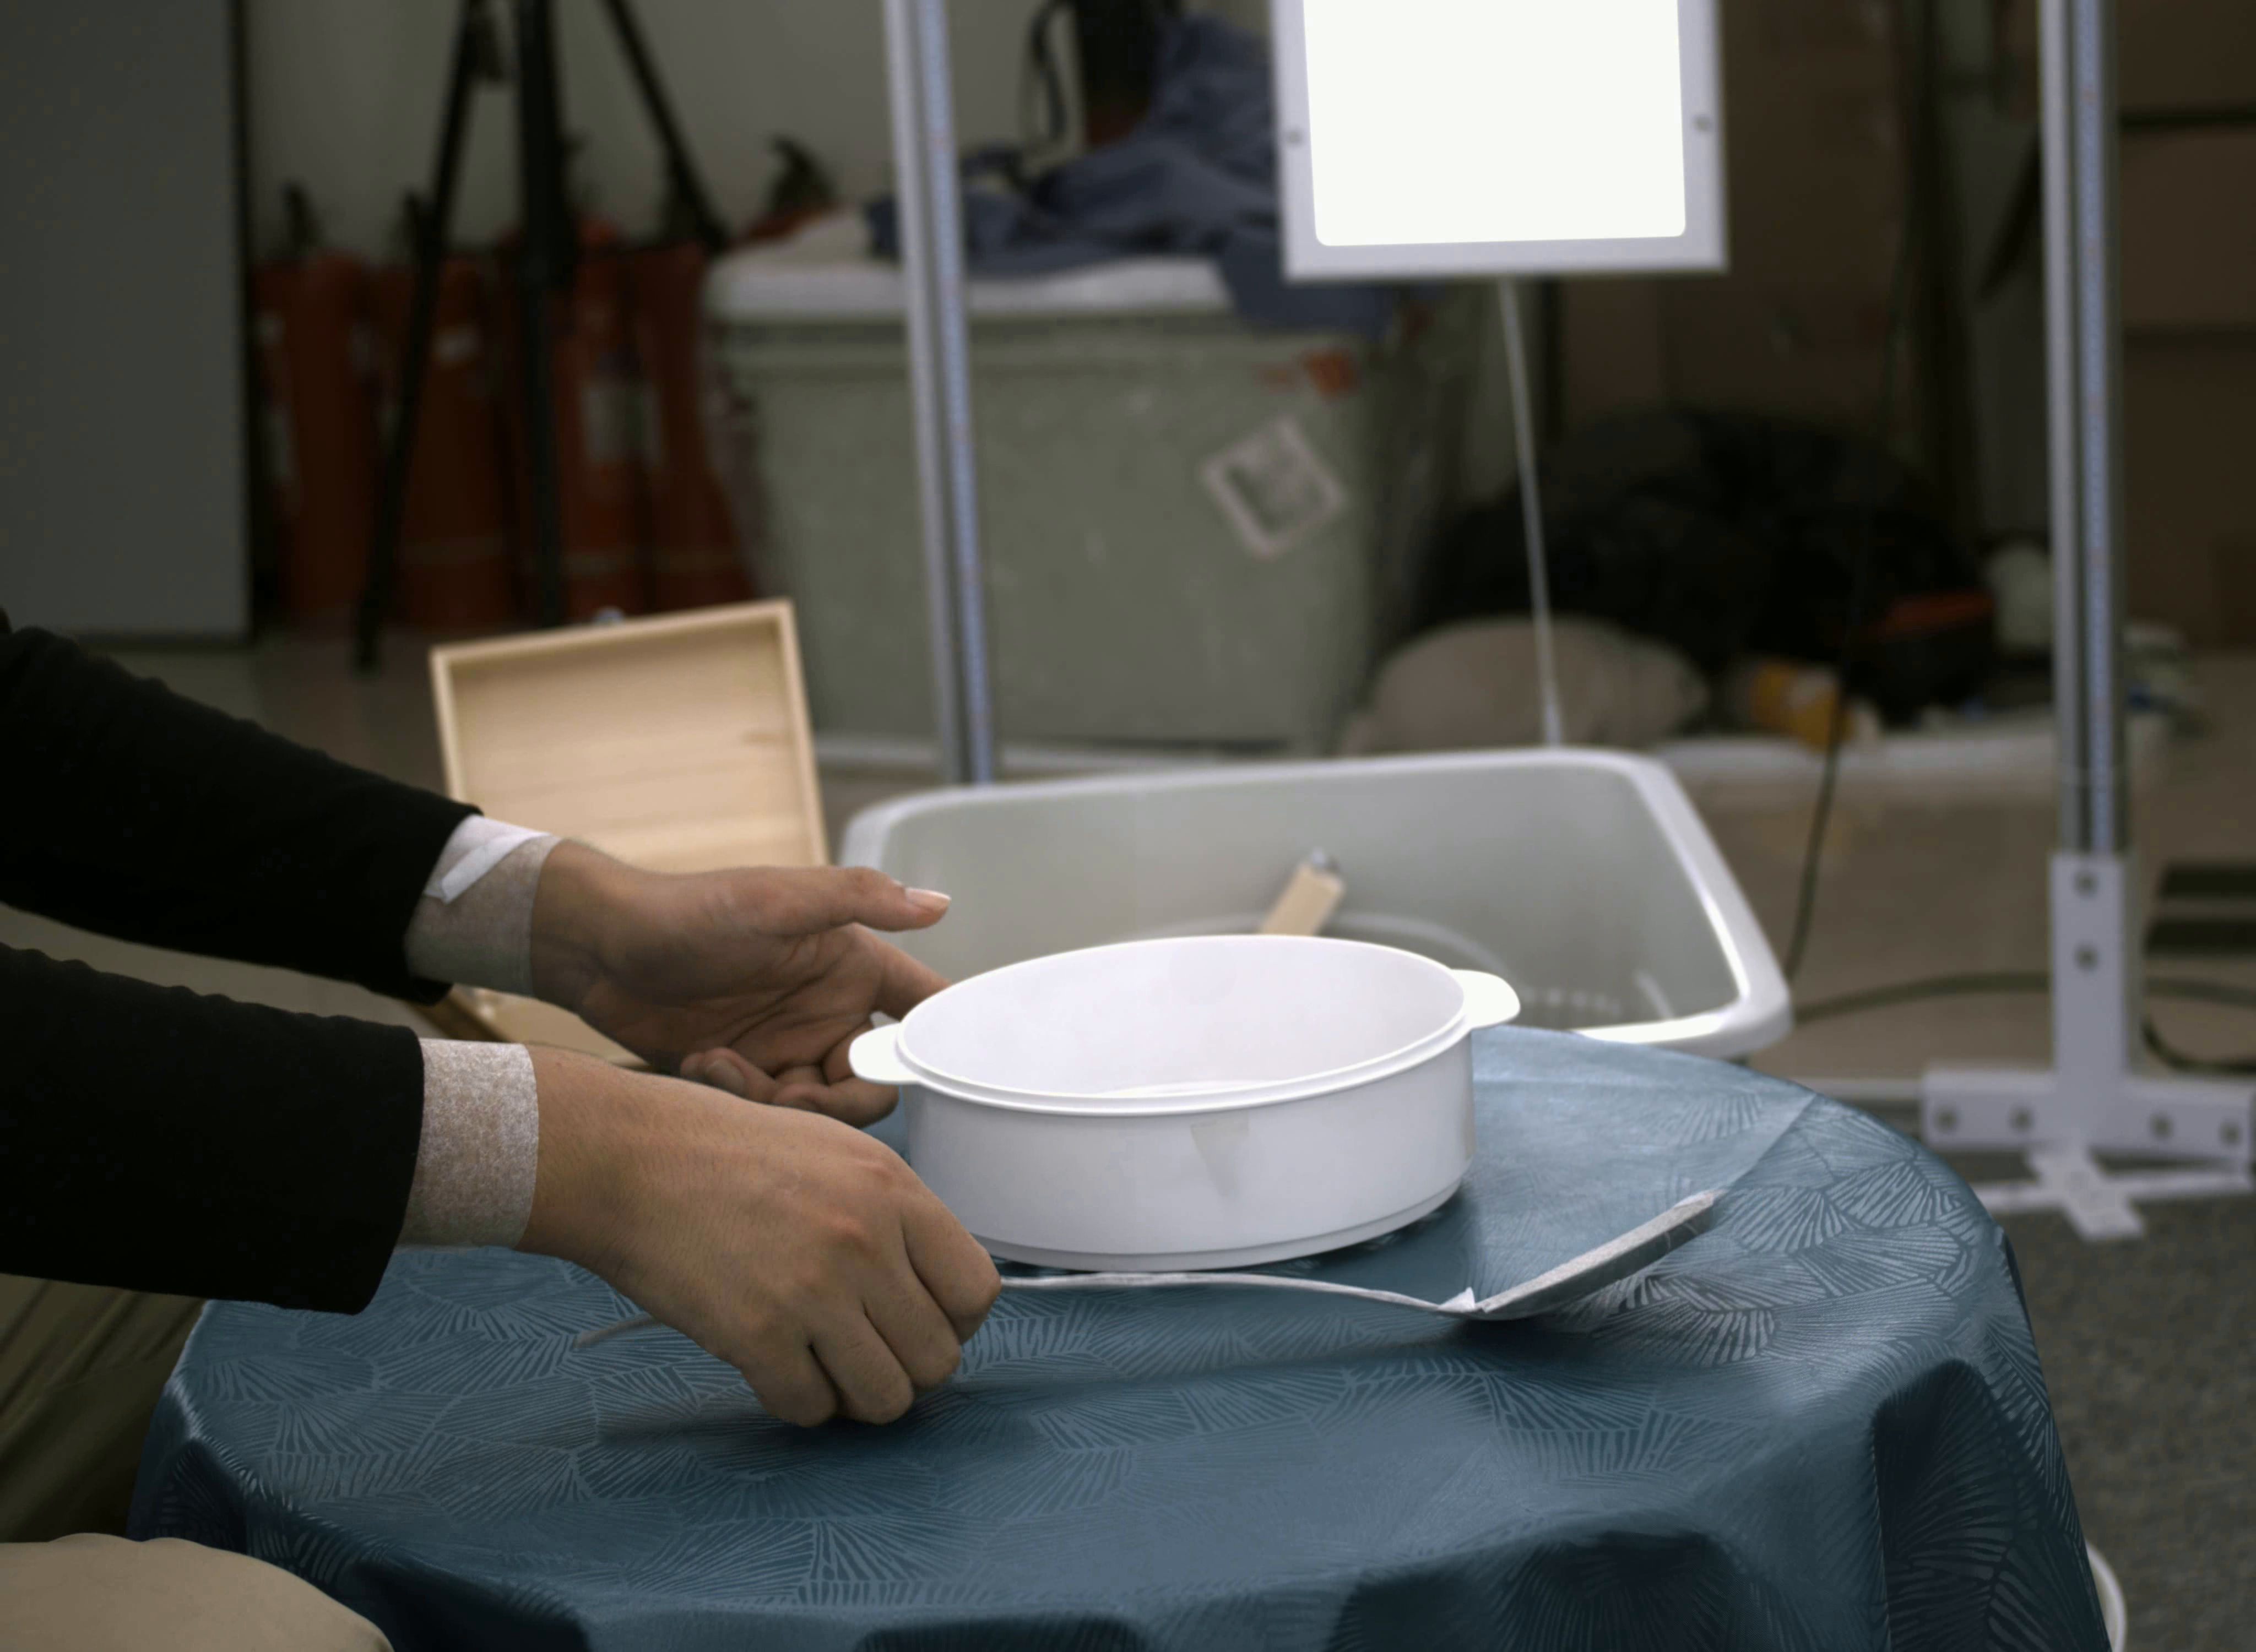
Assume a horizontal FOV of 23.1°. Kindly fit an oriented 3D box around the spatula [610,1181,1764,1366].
[{"bbox_3d":[0.018,0.140,1.720,0.364,0.045,0.098,-2,-2,1],"label":"spatula"}]

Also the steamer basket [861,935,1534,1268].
[{"bbox_3d":[0.026,0.094,1.876,0.230,0.069,0.202,-7,13,-1],"label":"steamer basket"}]
